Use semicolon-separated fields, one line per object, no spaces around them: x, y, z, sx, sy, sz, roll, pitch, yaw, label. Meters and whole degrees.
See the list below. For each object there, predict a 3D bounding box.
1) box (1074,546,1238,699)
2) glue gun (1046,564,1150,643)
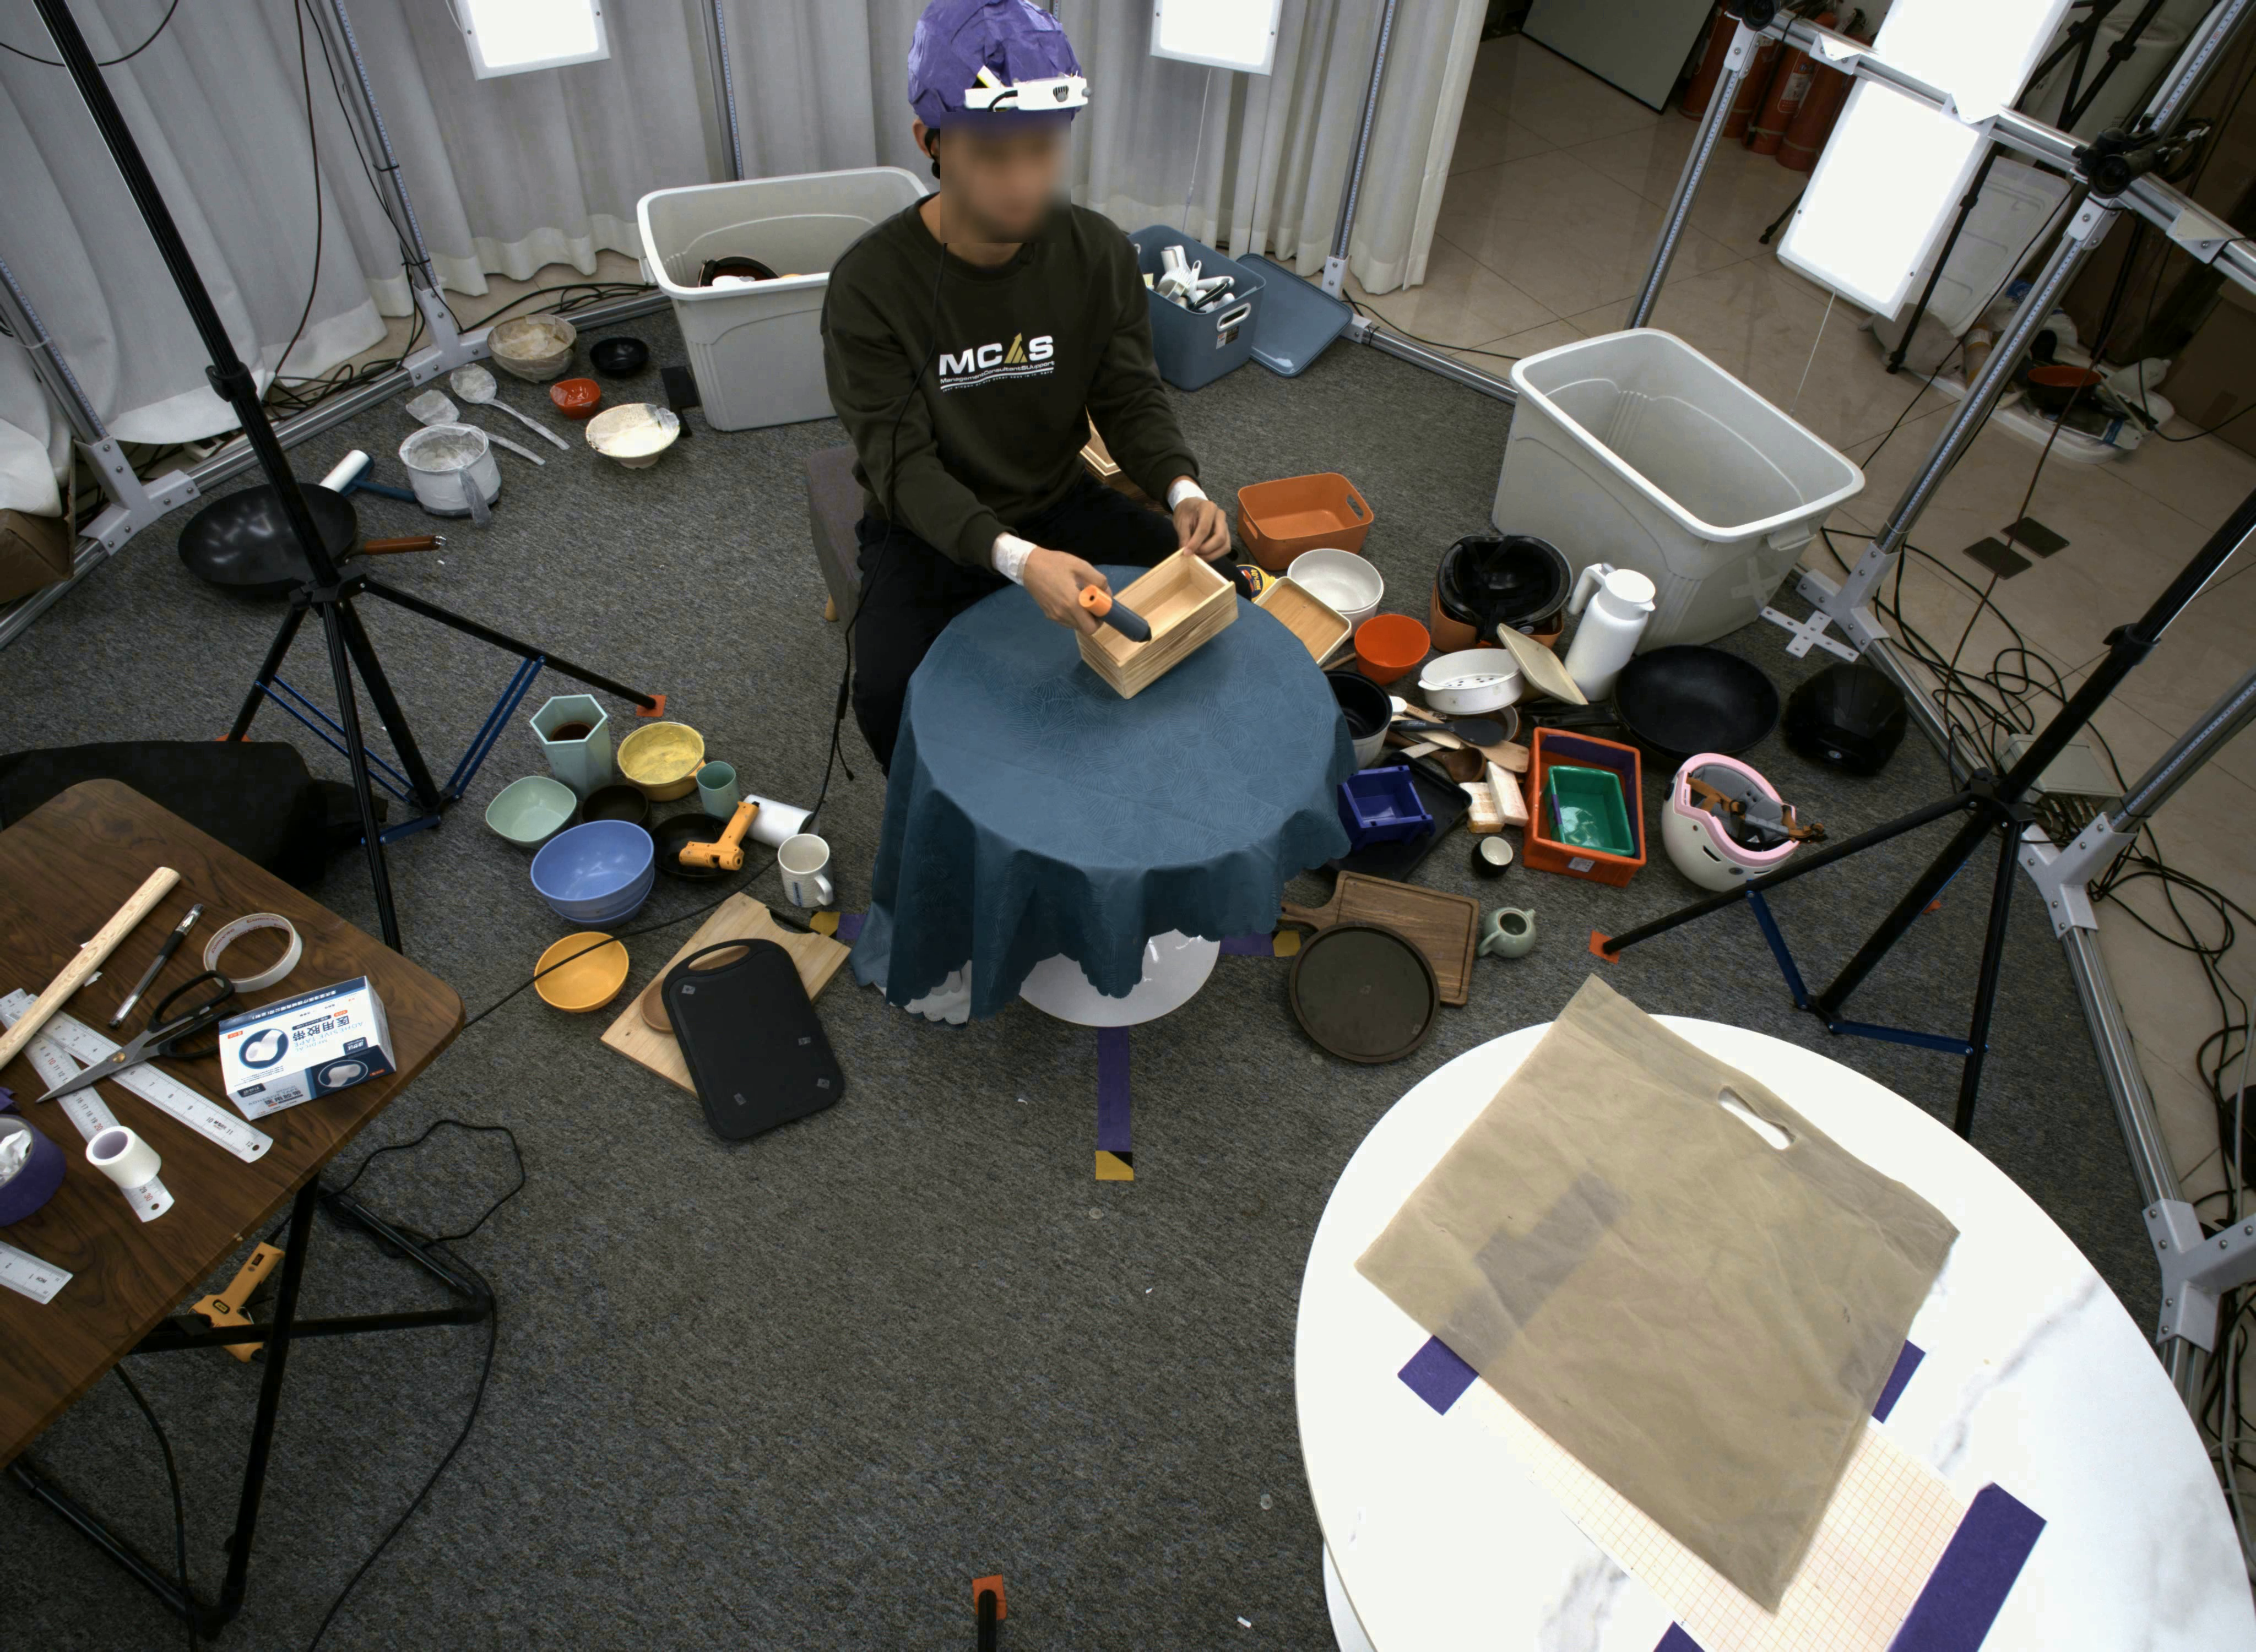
0.042;-0.293;1.836;0.212;0.078;0.109;-37;59;-15;box
-0.040;-0.304;1.768;0.142;0.116;0.041;38;96;38;glue gun
